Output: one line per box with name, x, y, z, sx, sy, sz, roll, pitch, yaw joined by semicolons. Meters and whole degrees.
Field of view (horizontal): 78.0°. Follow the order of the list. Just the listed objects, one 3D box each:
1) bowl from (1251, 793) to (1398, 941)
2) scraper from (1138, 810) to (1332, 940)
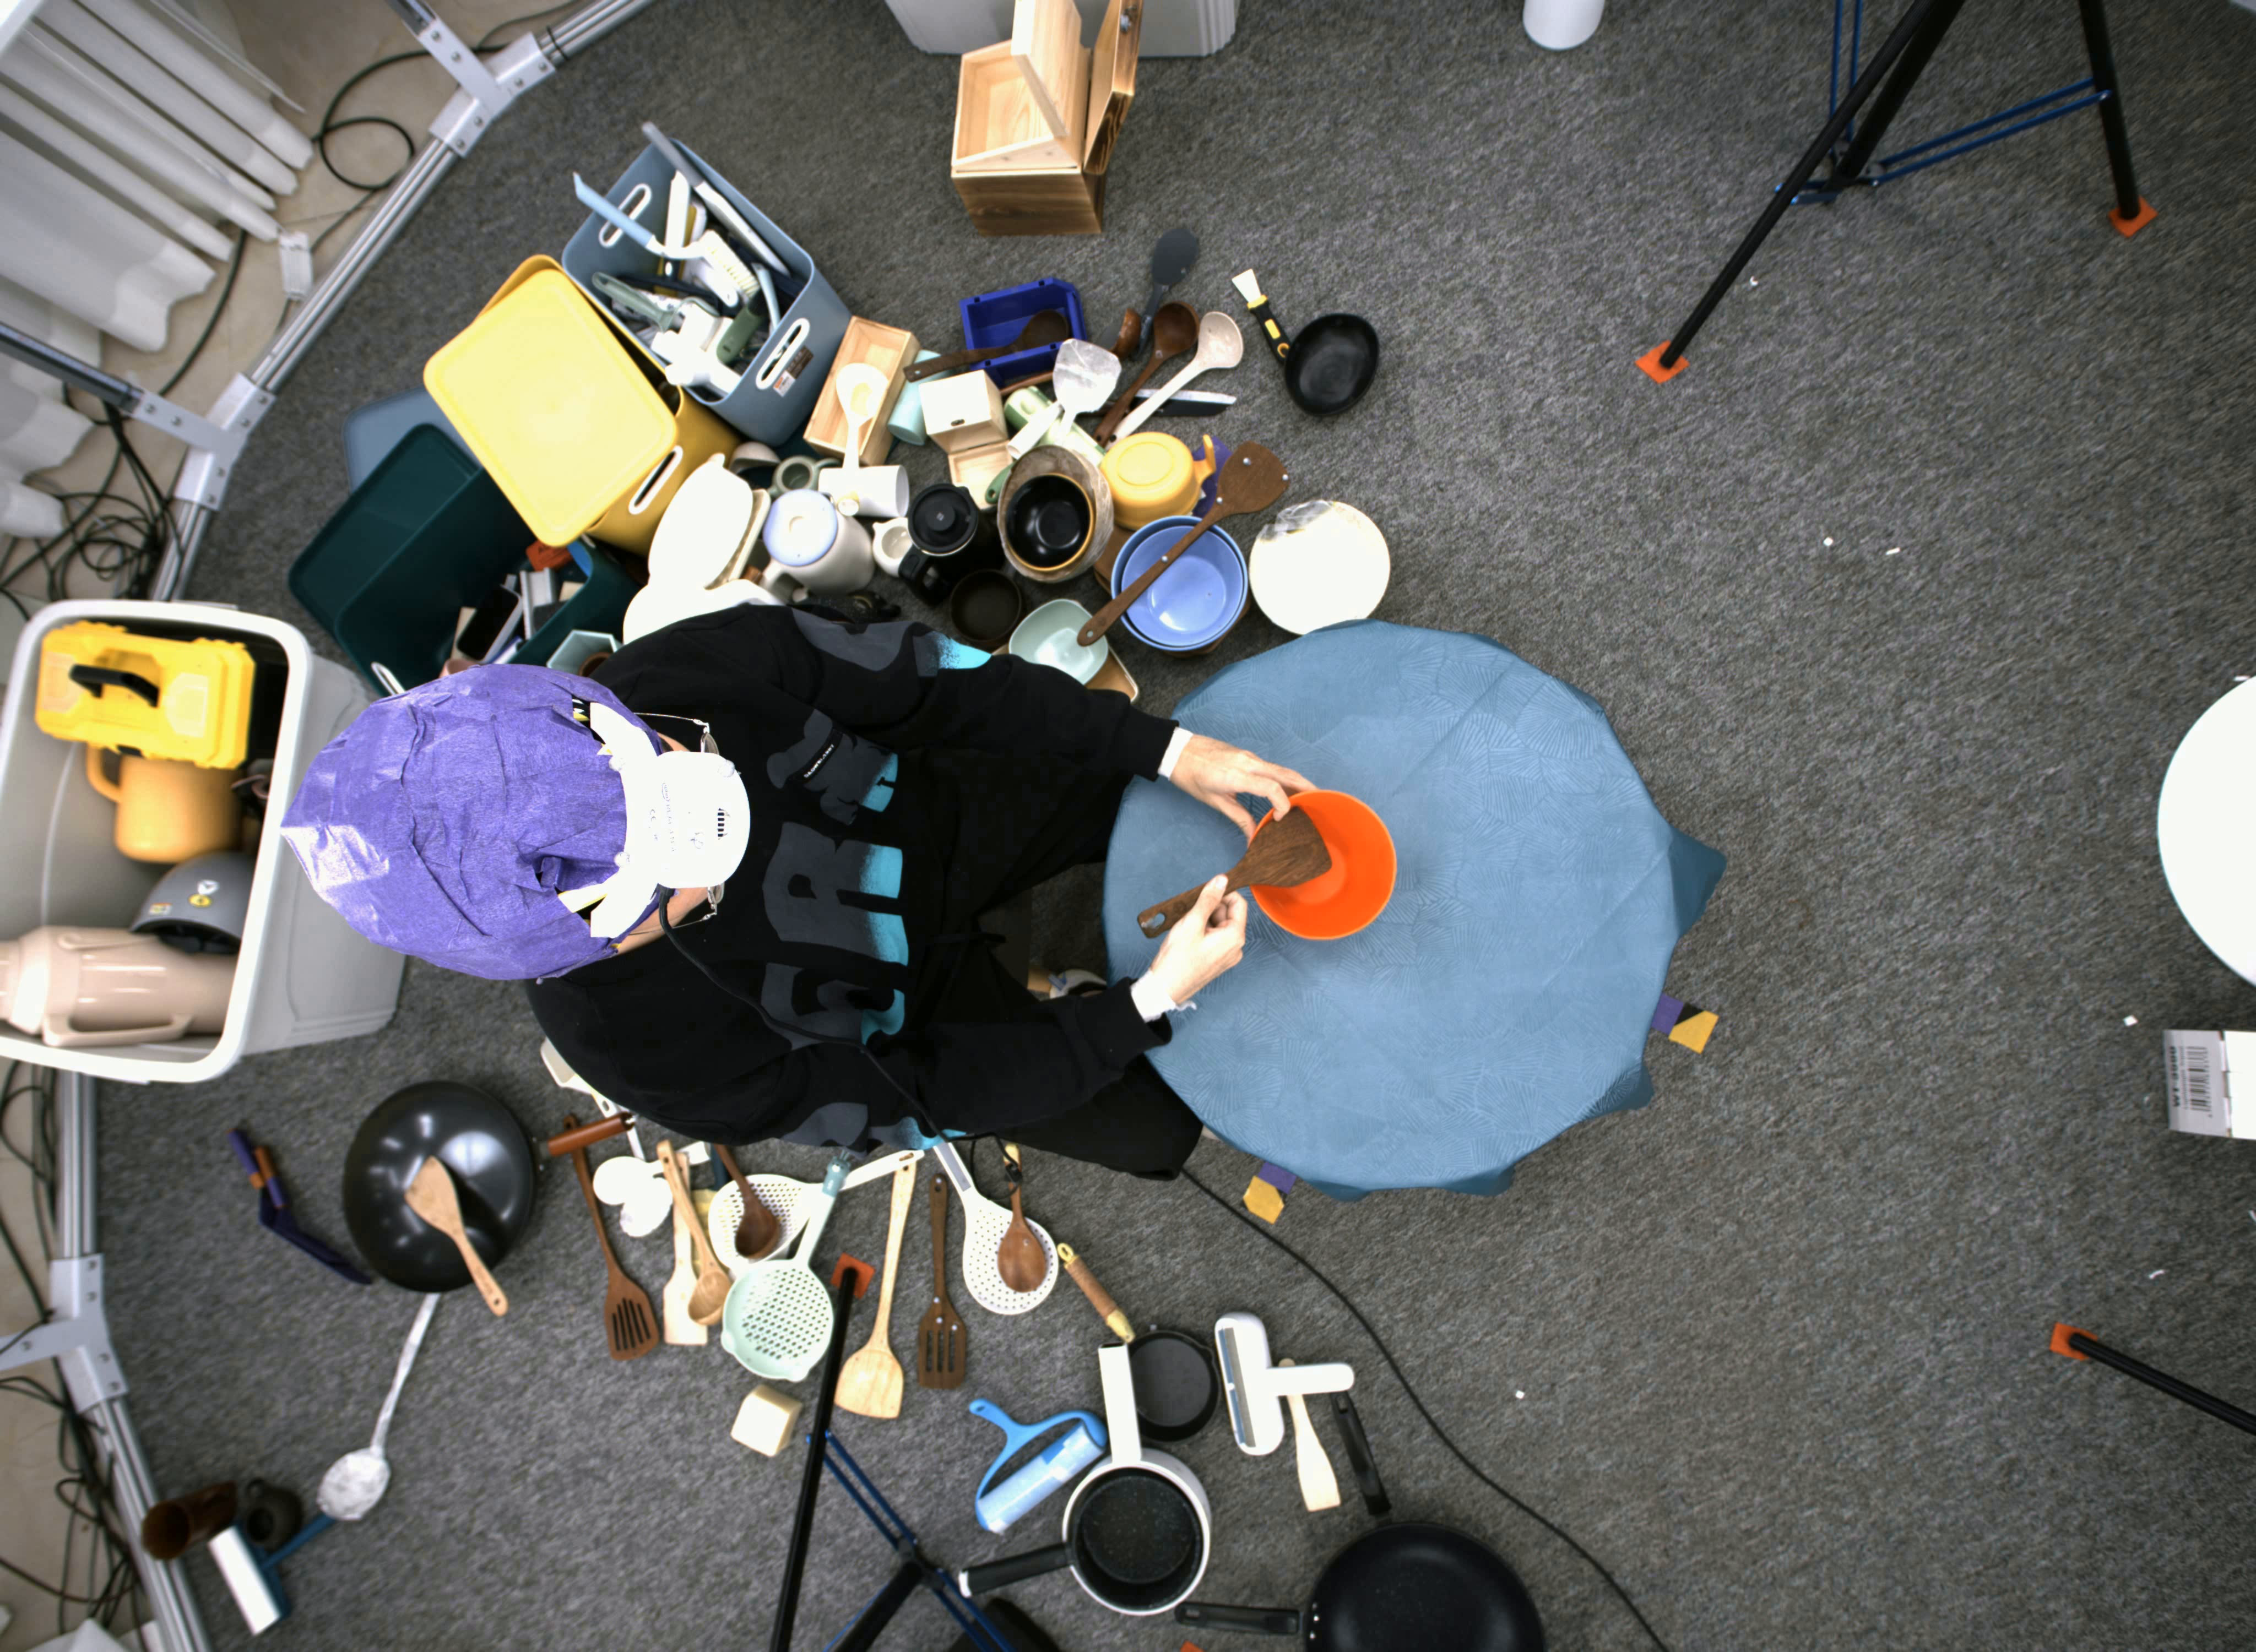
bowl;0.200;0.041;1.407;0.148;0.104;0.148;0;91;10
scraper;0.103;0.056;1.367;0.209;0.011;0.076;-26;89;-17
